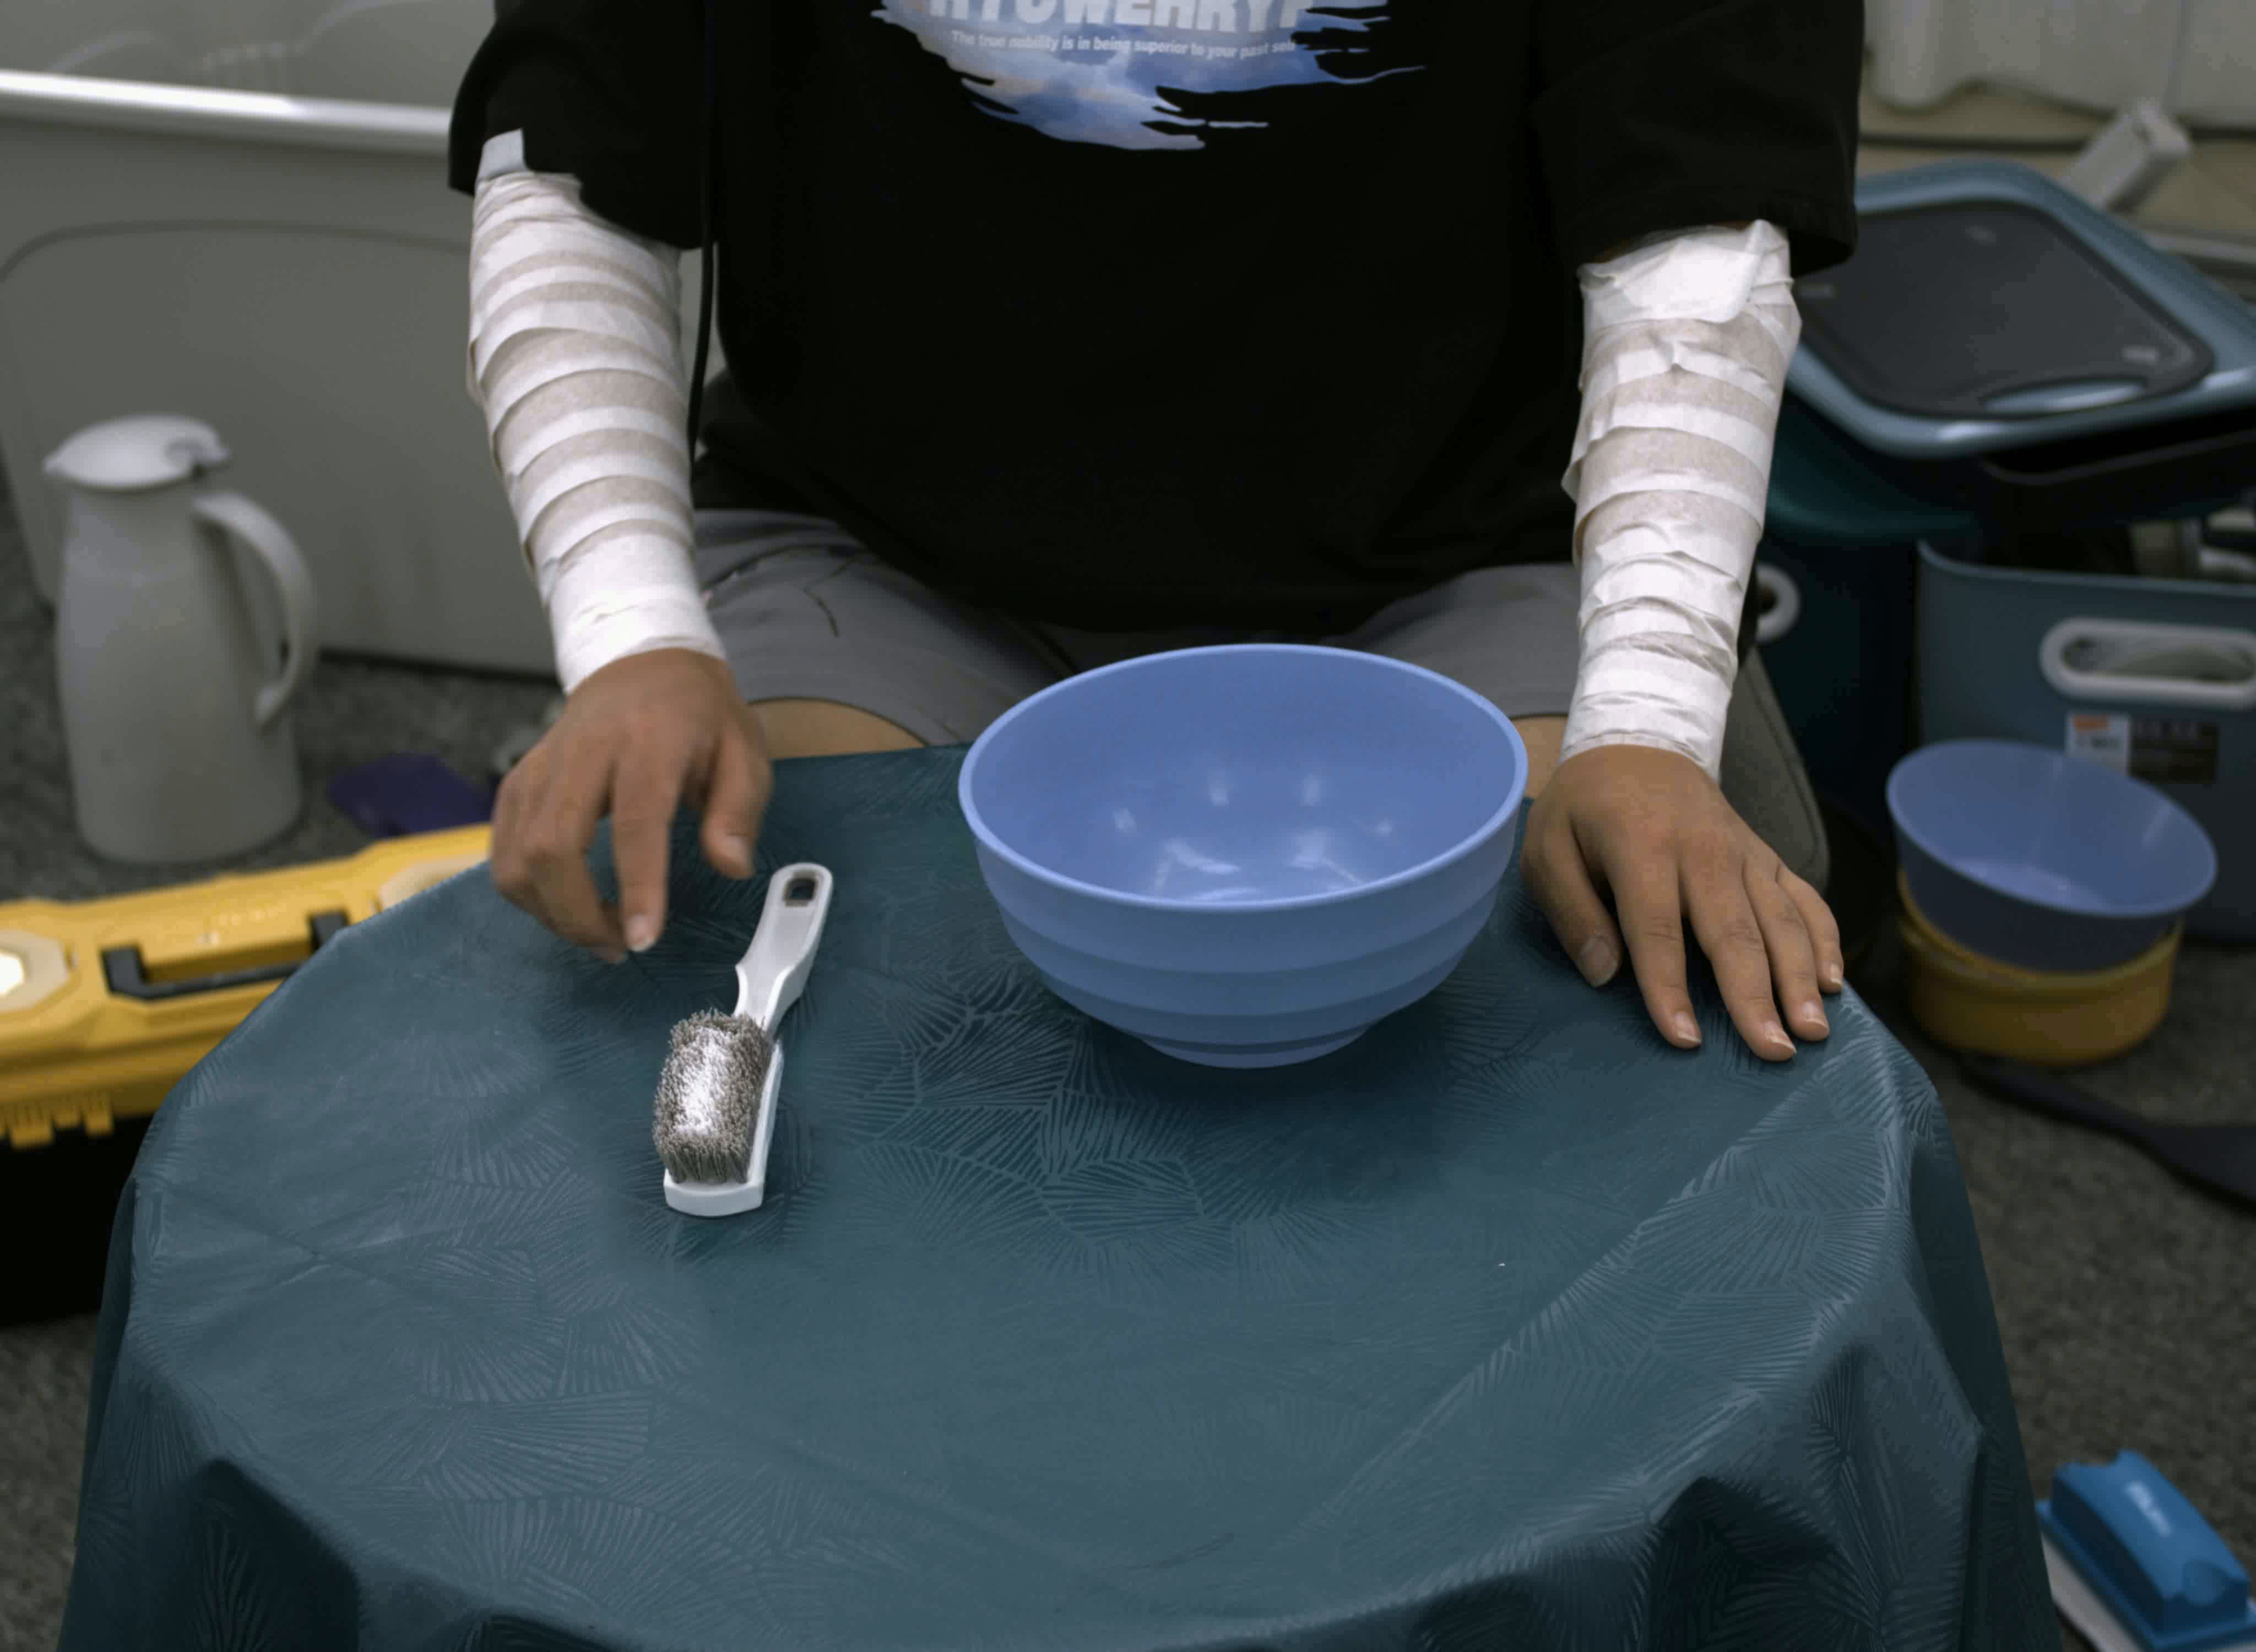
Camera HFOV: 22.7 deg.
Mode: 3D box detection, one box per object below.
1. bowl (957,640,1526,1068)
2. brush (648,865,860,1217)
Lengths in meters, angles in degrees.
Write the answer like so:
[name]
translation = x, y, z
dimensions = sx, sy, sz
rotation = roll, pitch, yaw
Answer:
[bowl]
translation = 0.042, 0.020, 1.950
dimensions = 0.195, 0.094, 0.199
rotation = -3, 28, 2
[brush]
translation = -0.127, 0.057, 1.947
dimensions = 0.034, 0.050, 0.248
rotation = -1, 27, 10
